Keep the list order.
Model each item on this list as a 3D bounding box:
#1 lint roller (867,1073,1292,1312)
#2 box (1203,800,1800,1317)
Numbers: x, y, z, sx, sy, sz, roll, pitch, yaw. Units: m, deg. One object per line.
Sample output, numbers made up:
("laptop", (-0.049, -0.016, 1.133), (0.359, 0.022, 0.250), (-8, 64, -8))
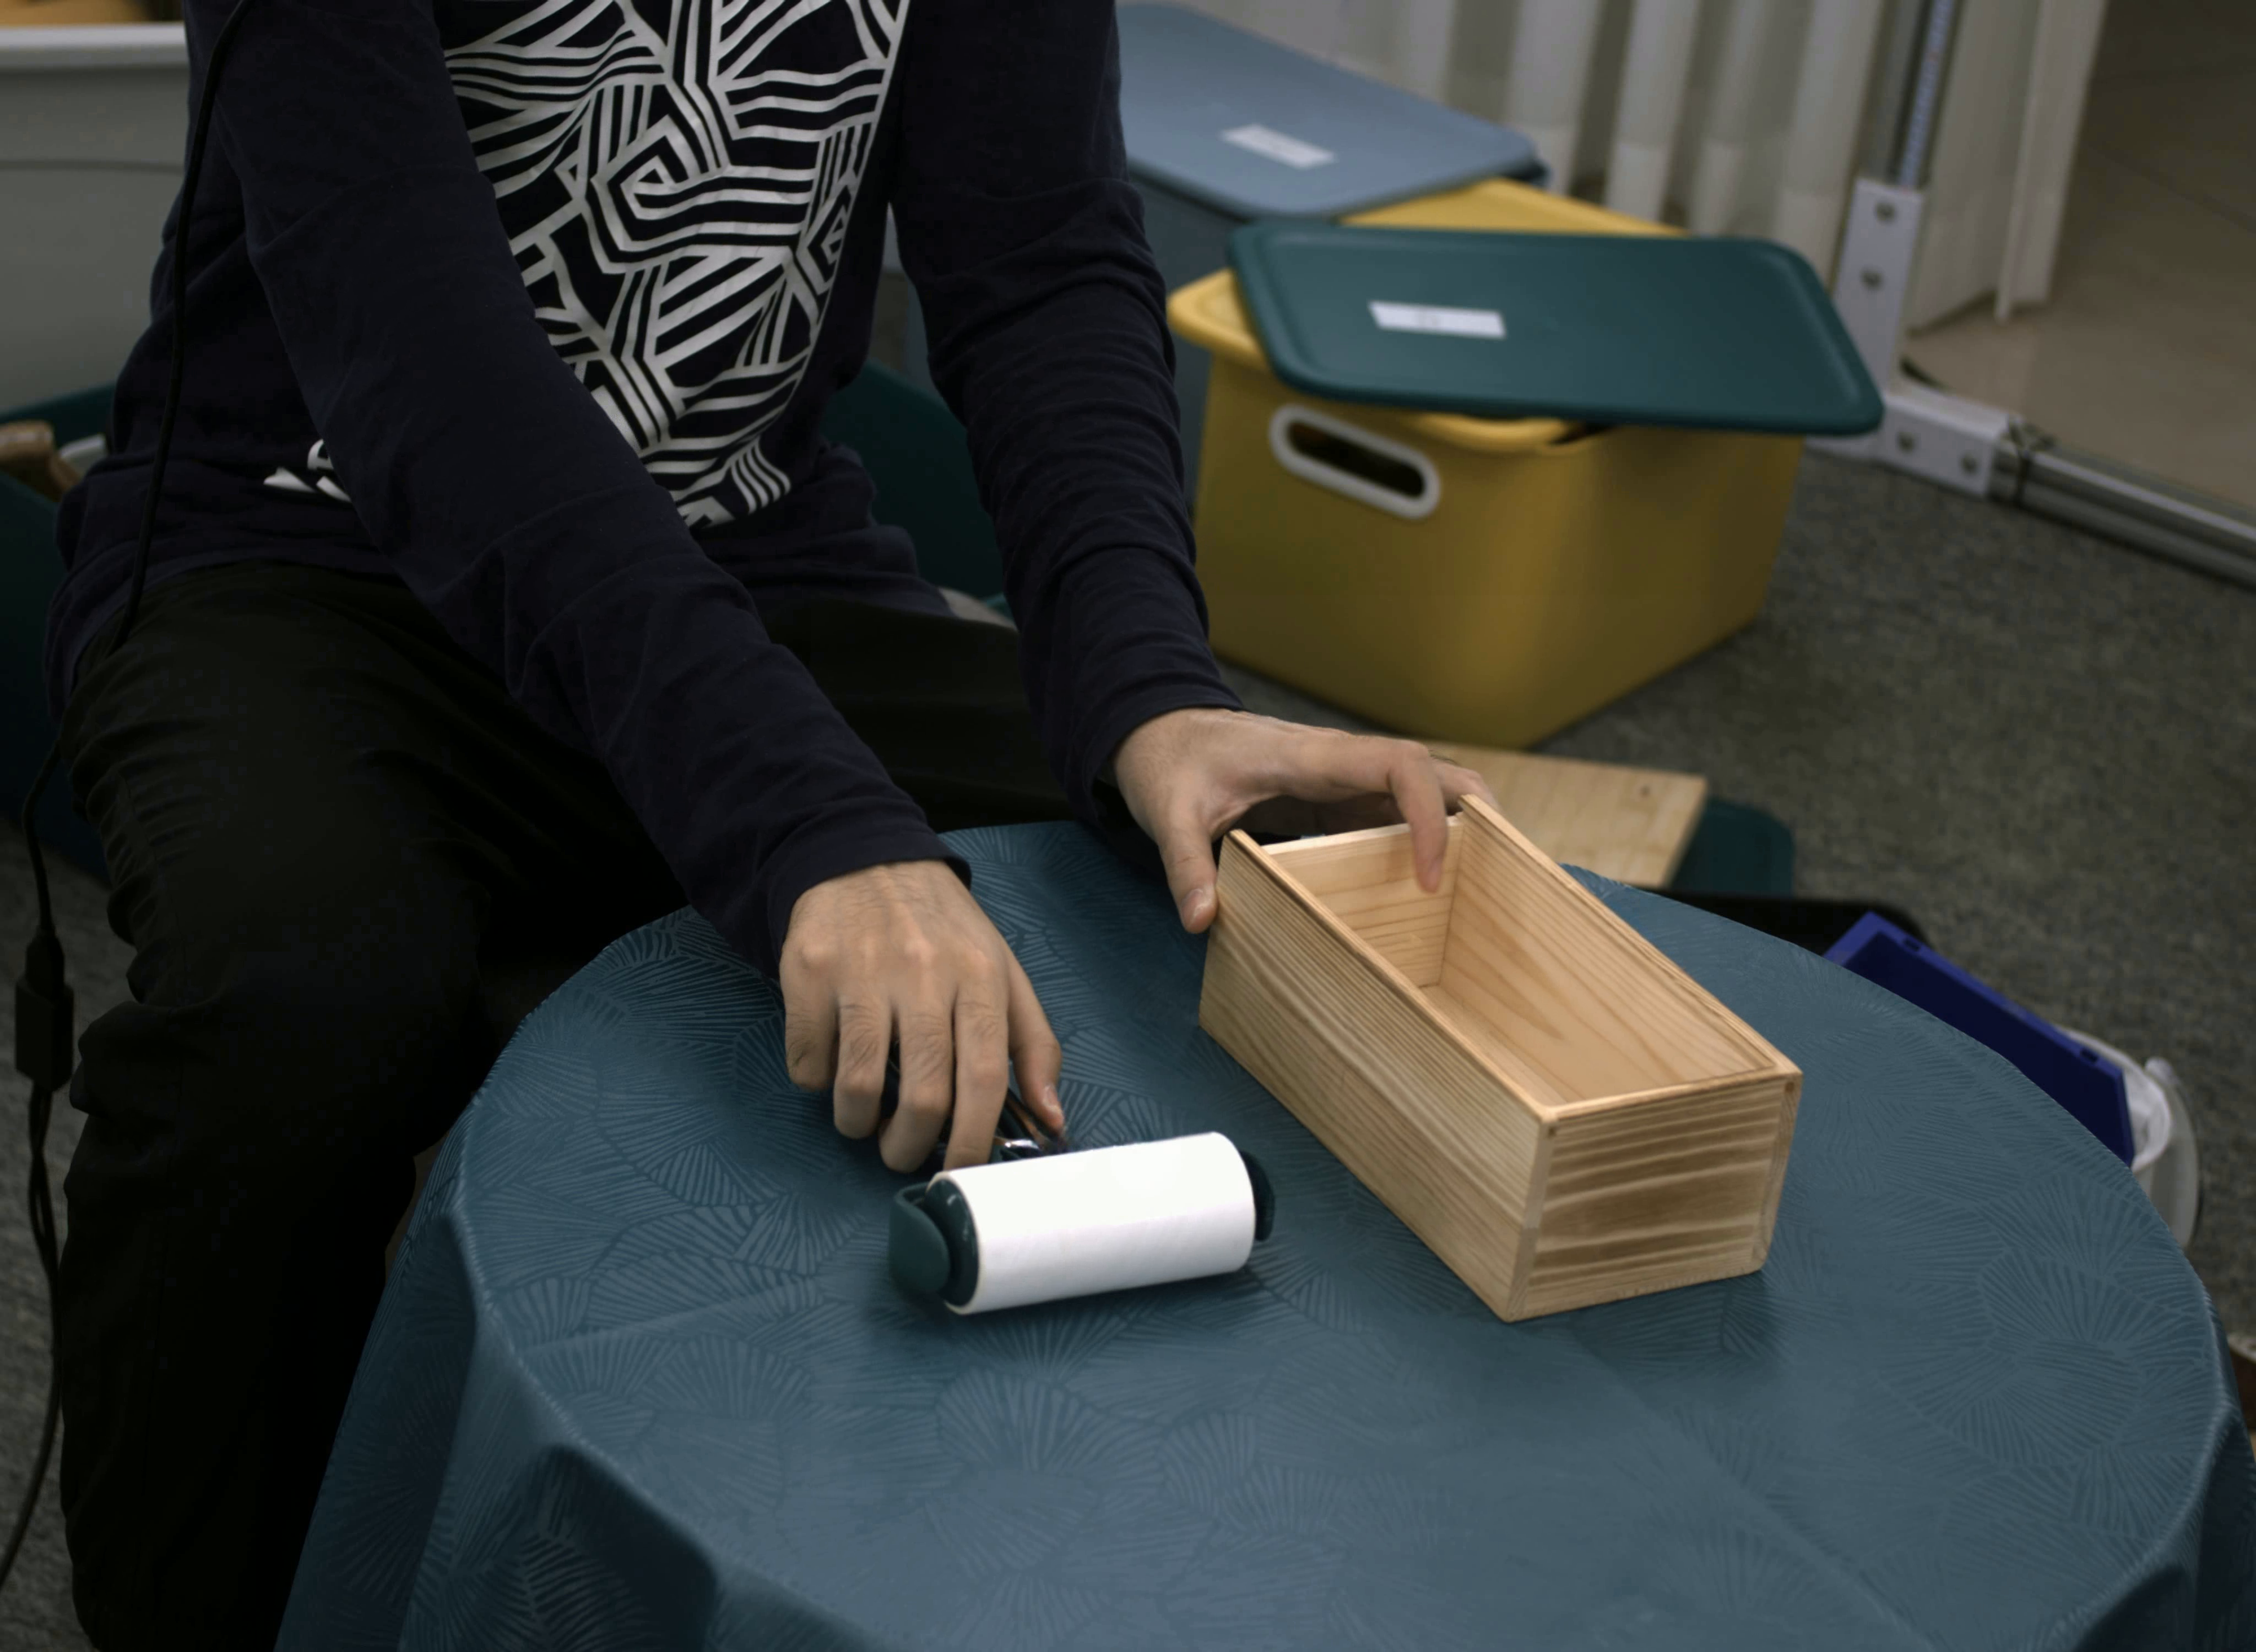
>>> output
("lint roller", (-0.043, 0.104, 1.794), (0.133, 0.048, 0.181), (-7, 25, -25))
("box", (0.125, 0.077, 1.839), (0.107, 0.080, 0.213), (-9, 29, -28))
